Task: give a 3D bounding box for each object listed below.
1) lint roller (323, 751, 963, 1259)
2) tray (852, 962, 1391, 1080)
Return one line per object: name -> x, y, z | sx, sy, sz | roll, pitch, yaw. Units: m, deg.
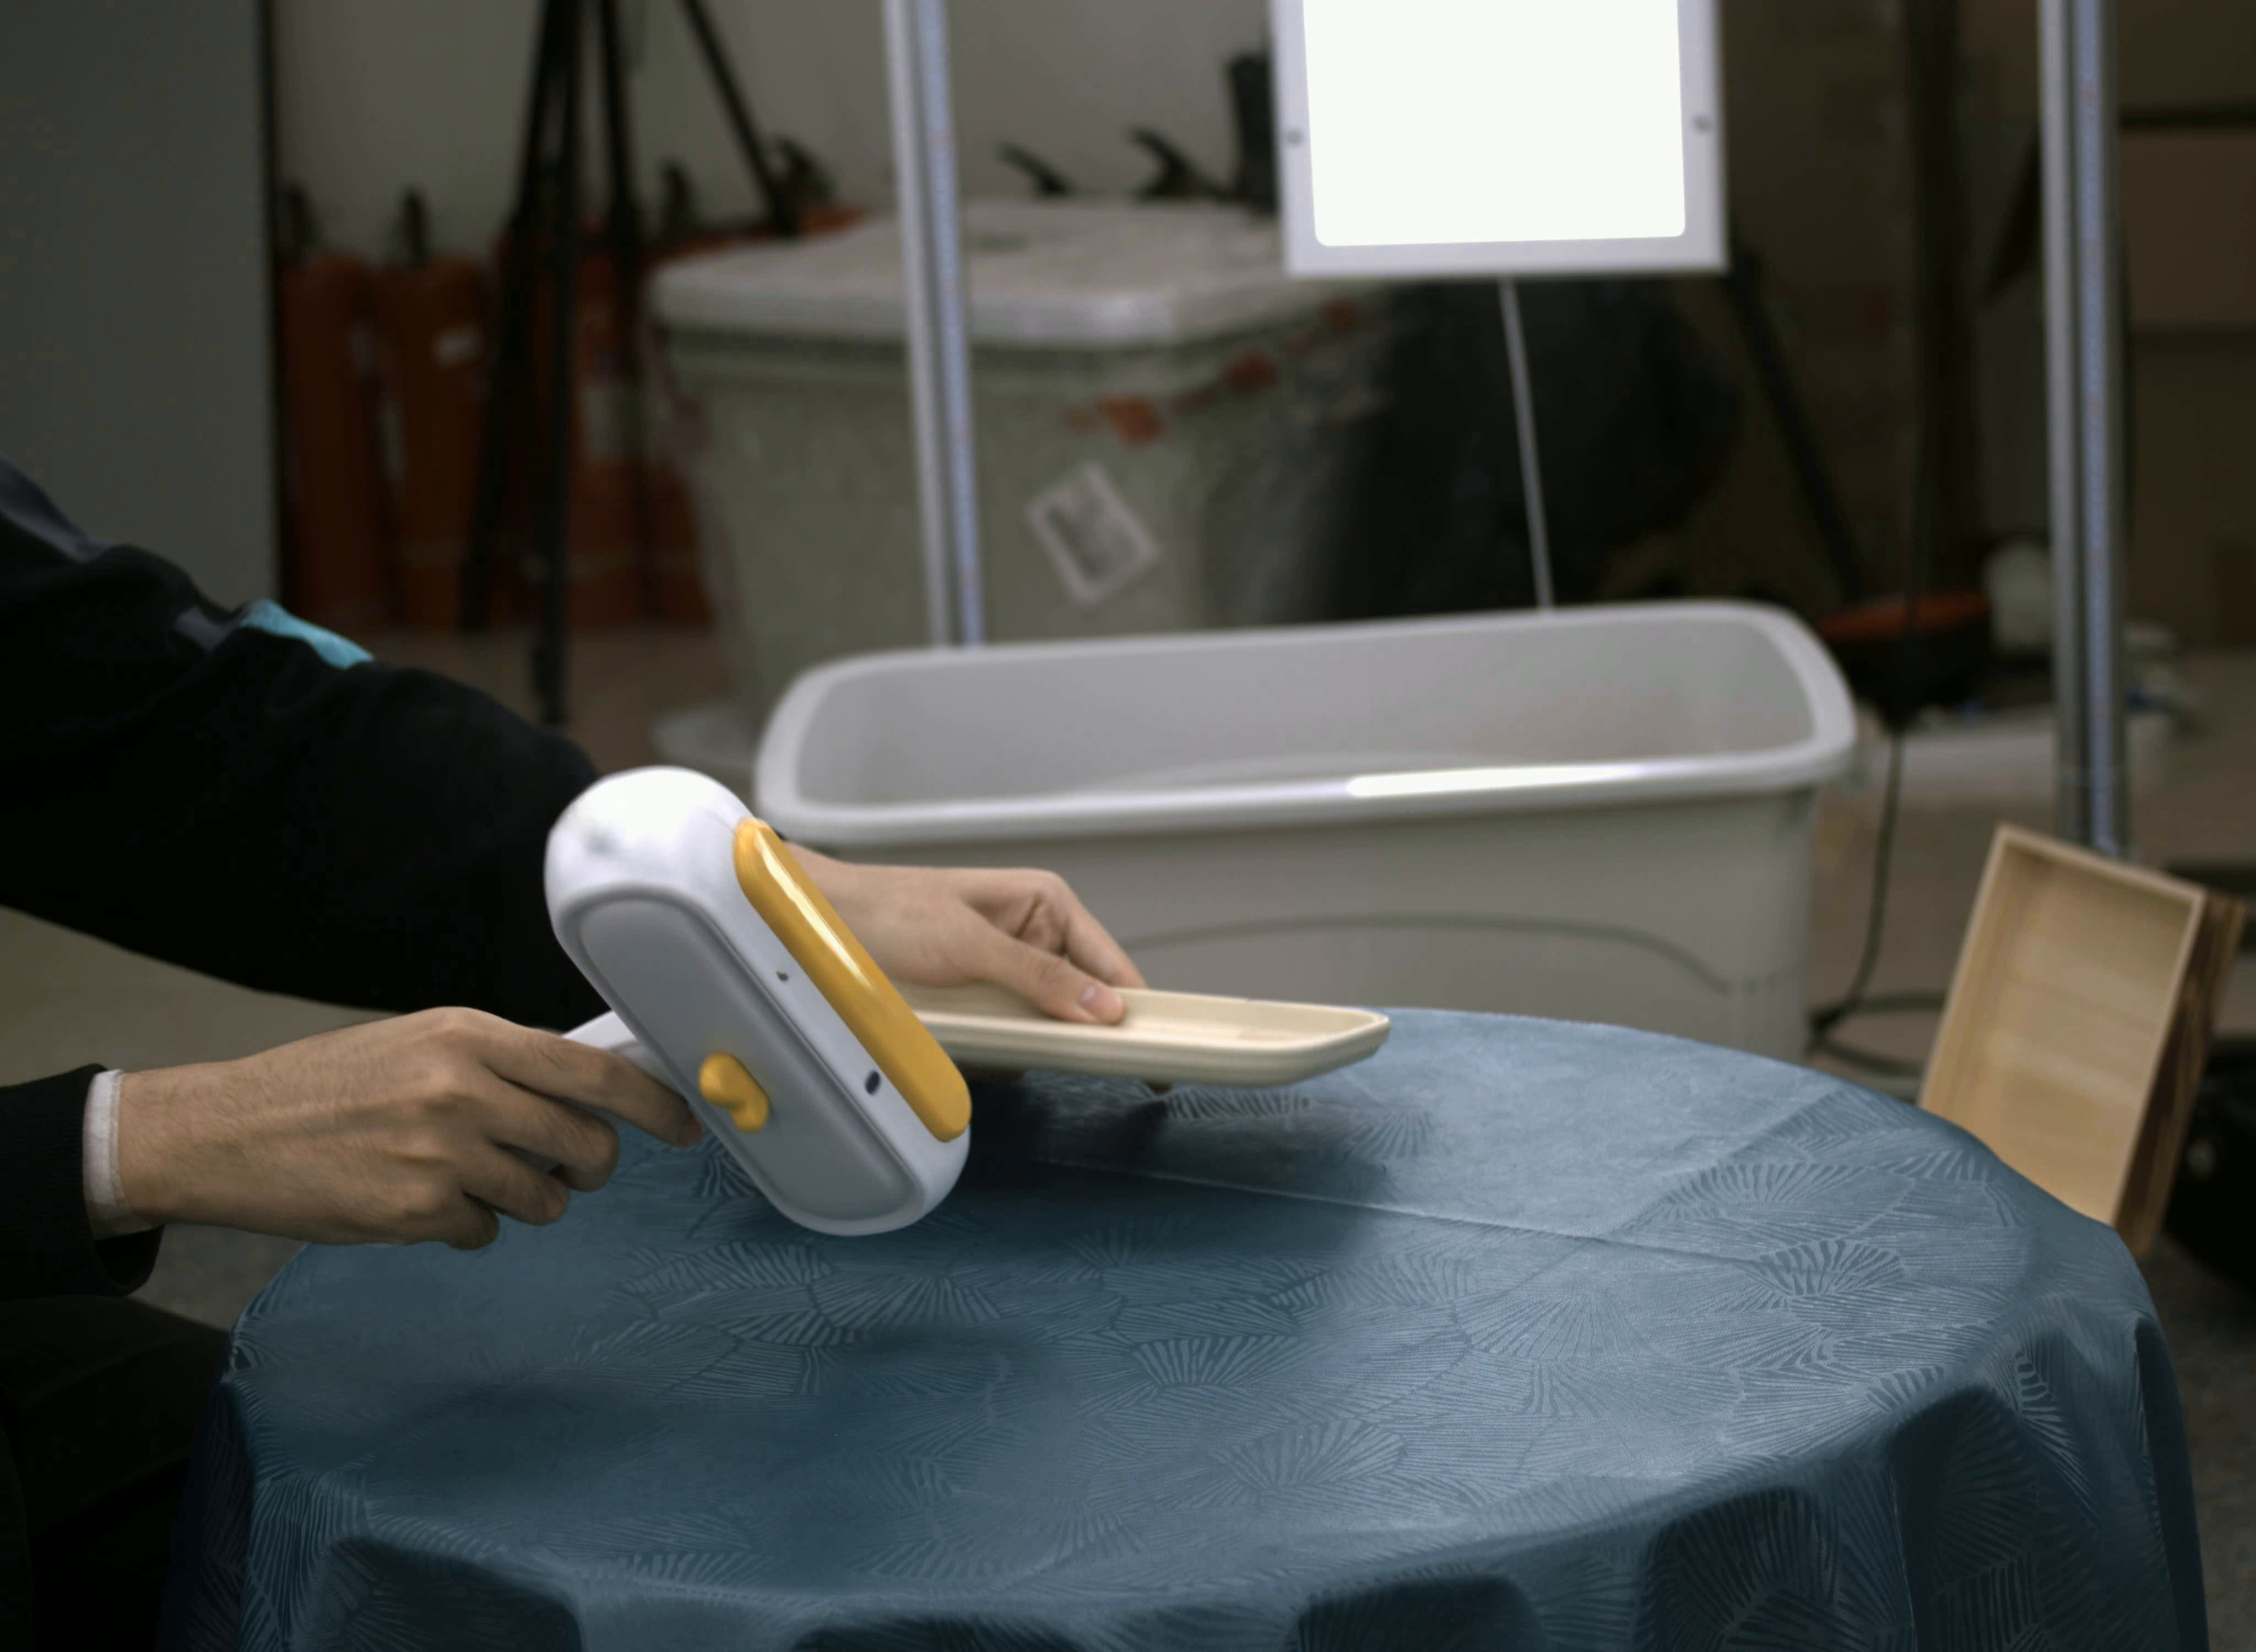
lint roller -> -0.170, 0.078, 1.742 | 0.195, 0.190, 0.074 | -23, 41, 24
tray -> -0.037, 0.068, 1.937 | 0.242, 0.017, 0.168 | 5, 3, 19
